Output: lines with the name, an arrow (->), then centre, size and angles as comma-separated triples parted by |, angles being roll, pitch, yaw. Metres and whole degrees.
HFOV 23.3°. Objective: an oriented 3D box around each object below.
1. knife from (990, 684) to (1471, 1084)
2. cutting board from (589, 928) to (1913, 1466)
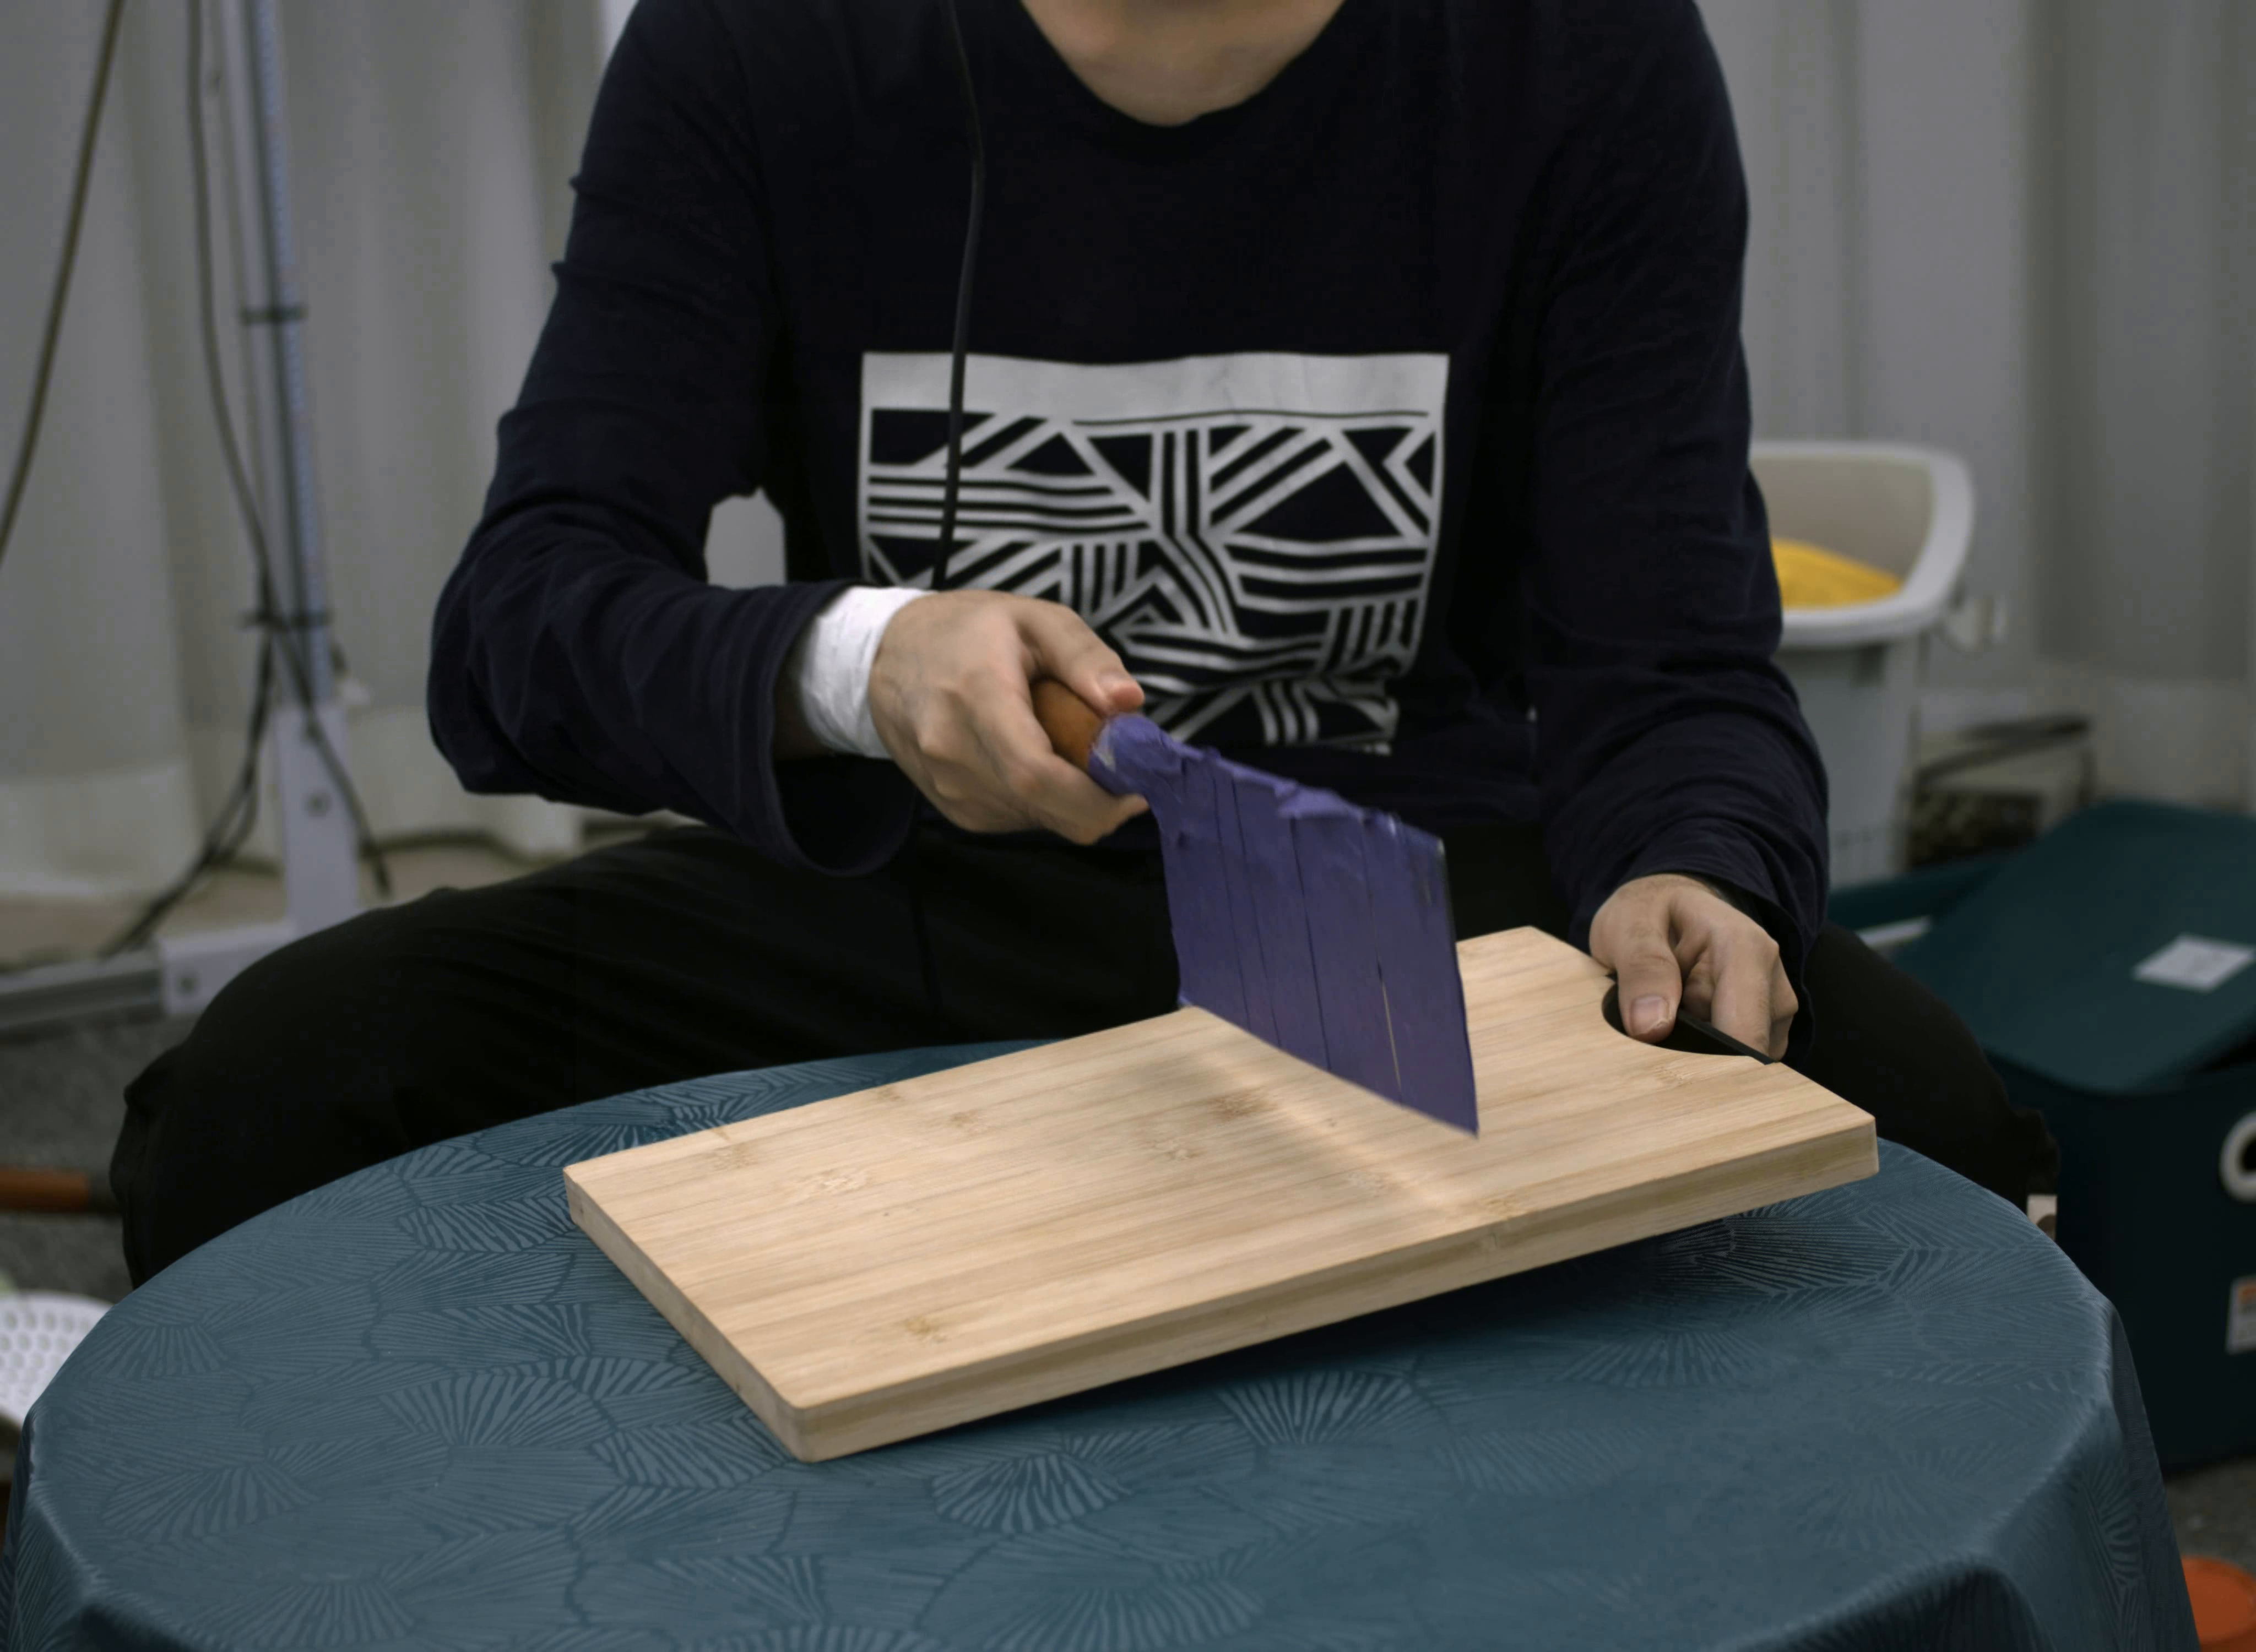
knife -> 0.027, 0.017, 1.678 | 0.032, 0.103, 0.317 | -11, 12, -19
cutting board -> 0.028, 0.105, 1.662 | 0.347, 0.023, 0.252 | -13, 17, -19
